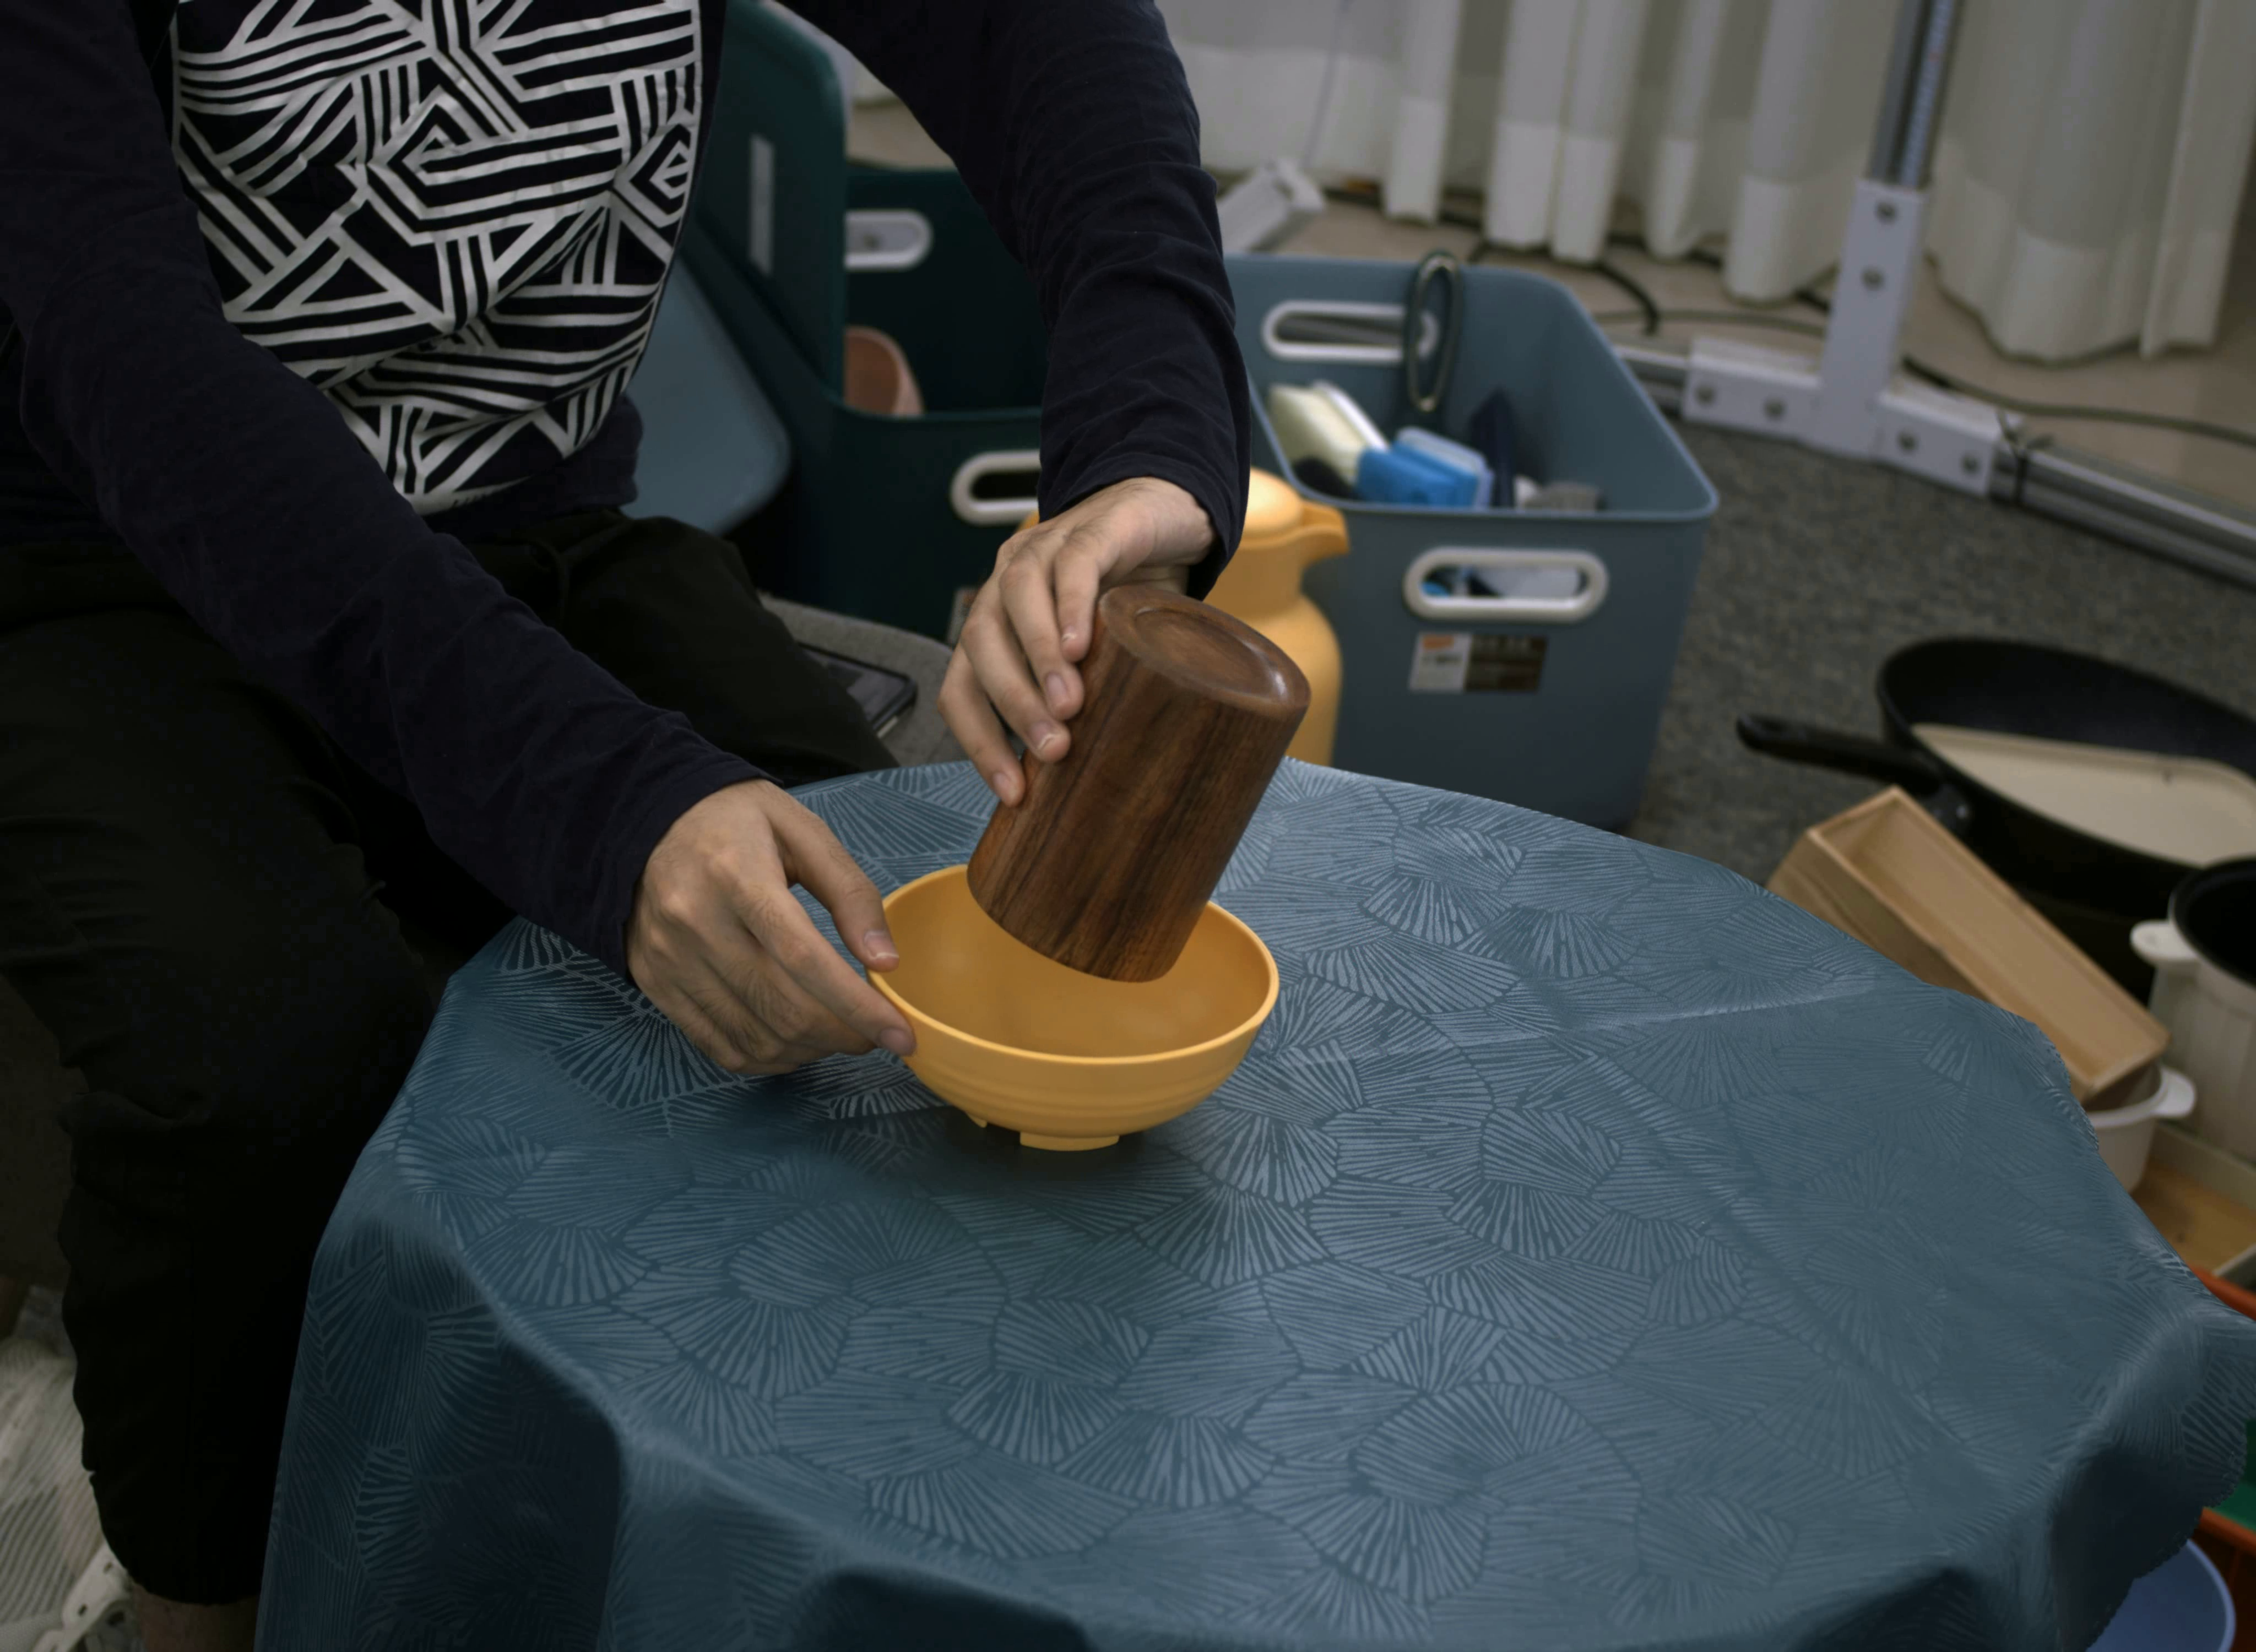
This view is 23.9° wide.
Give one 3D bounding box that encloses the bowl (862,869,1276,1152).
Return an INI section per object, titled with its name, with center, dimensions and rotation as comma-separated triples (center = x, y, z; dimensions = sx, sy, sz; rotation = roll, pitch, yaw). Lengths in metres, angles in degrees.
[bowl]
center = -0.024, 0.071, 1.840
dimensions = 0.145, 0.060, 0.146
rotation = 5, 25, -3

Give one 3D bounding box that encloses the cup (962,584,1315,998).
[cup]
center = 0.004, -0.011, 1.807
dimensions = 0.087, 0.118, 0.088
rotation = 23, 24, -11
